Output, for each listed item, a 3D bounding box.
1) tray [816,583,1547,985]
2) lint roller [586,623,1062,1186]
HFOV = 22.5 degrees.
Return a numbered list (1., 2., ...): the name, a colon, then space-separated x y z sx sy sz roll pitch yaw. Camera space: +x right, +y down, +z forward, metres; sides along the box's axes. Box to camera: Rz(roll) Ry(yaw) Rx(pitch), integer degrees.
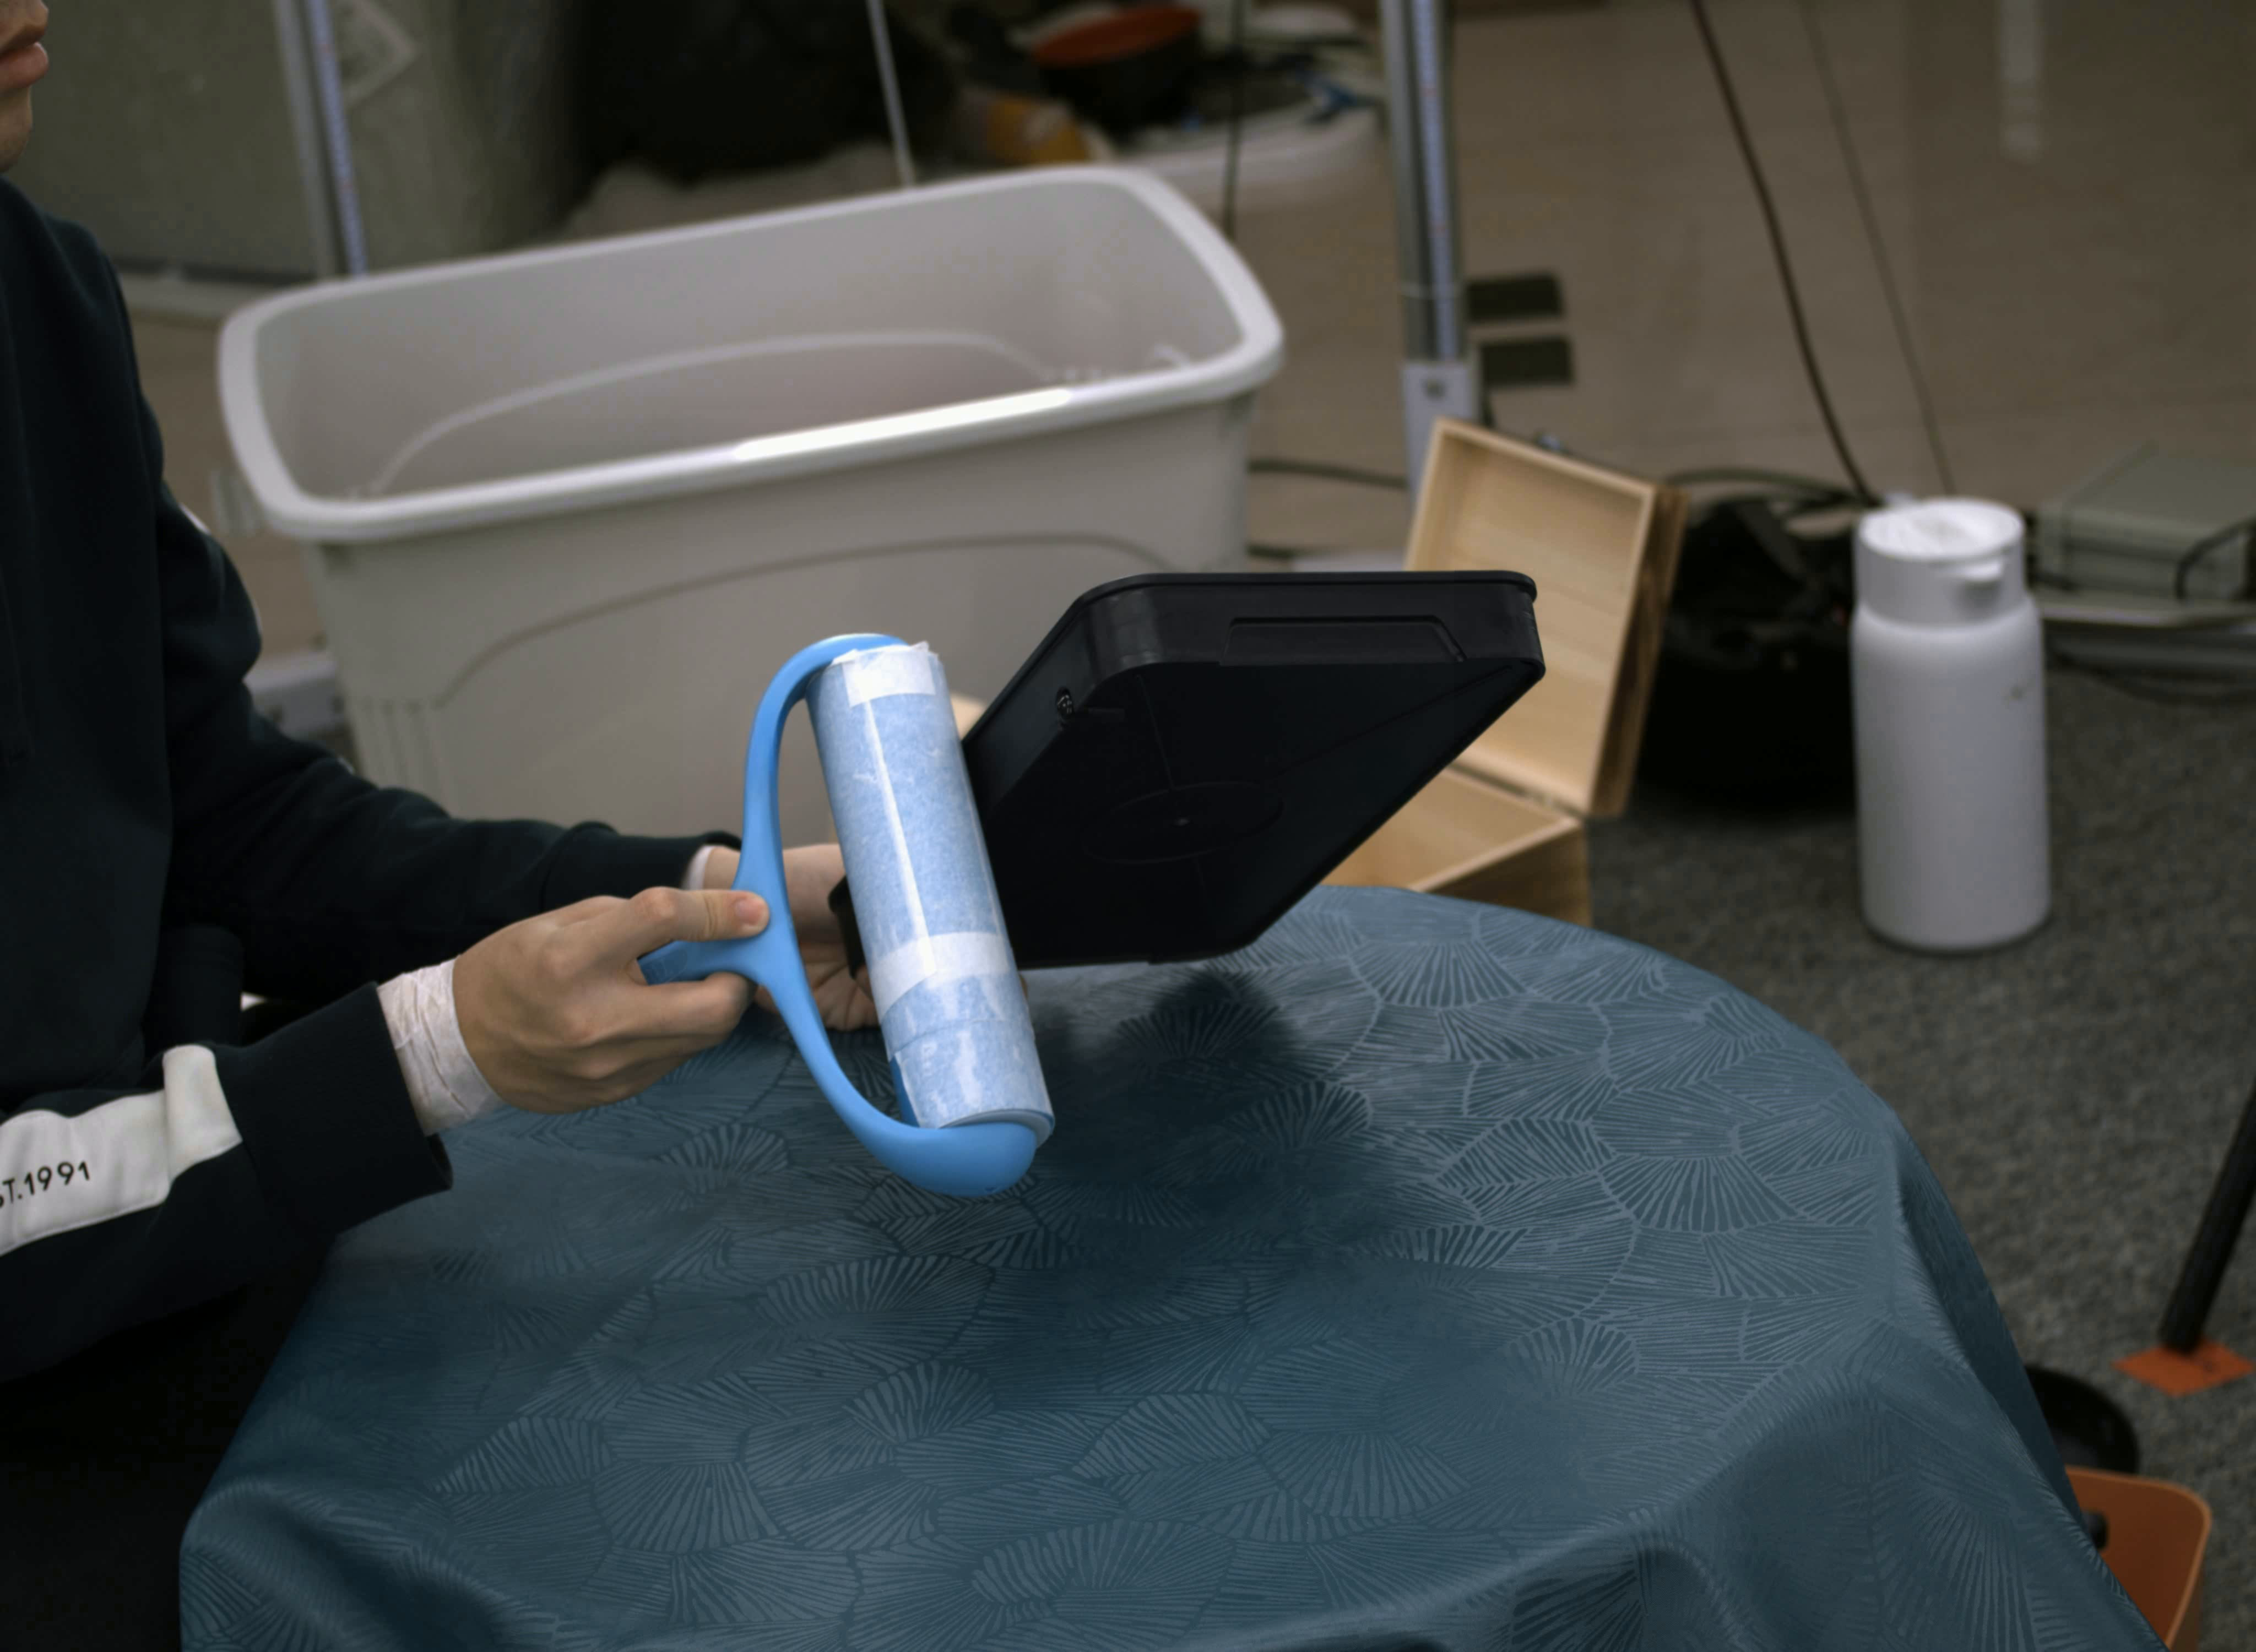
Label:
1. tray: 0.016 -0.012 2.154 0.184 0.037 0.321 -3 -20 -25
2. lint roller: -0.126 0.048 2.079 0.180 0.068 0.226 -22 66 10
